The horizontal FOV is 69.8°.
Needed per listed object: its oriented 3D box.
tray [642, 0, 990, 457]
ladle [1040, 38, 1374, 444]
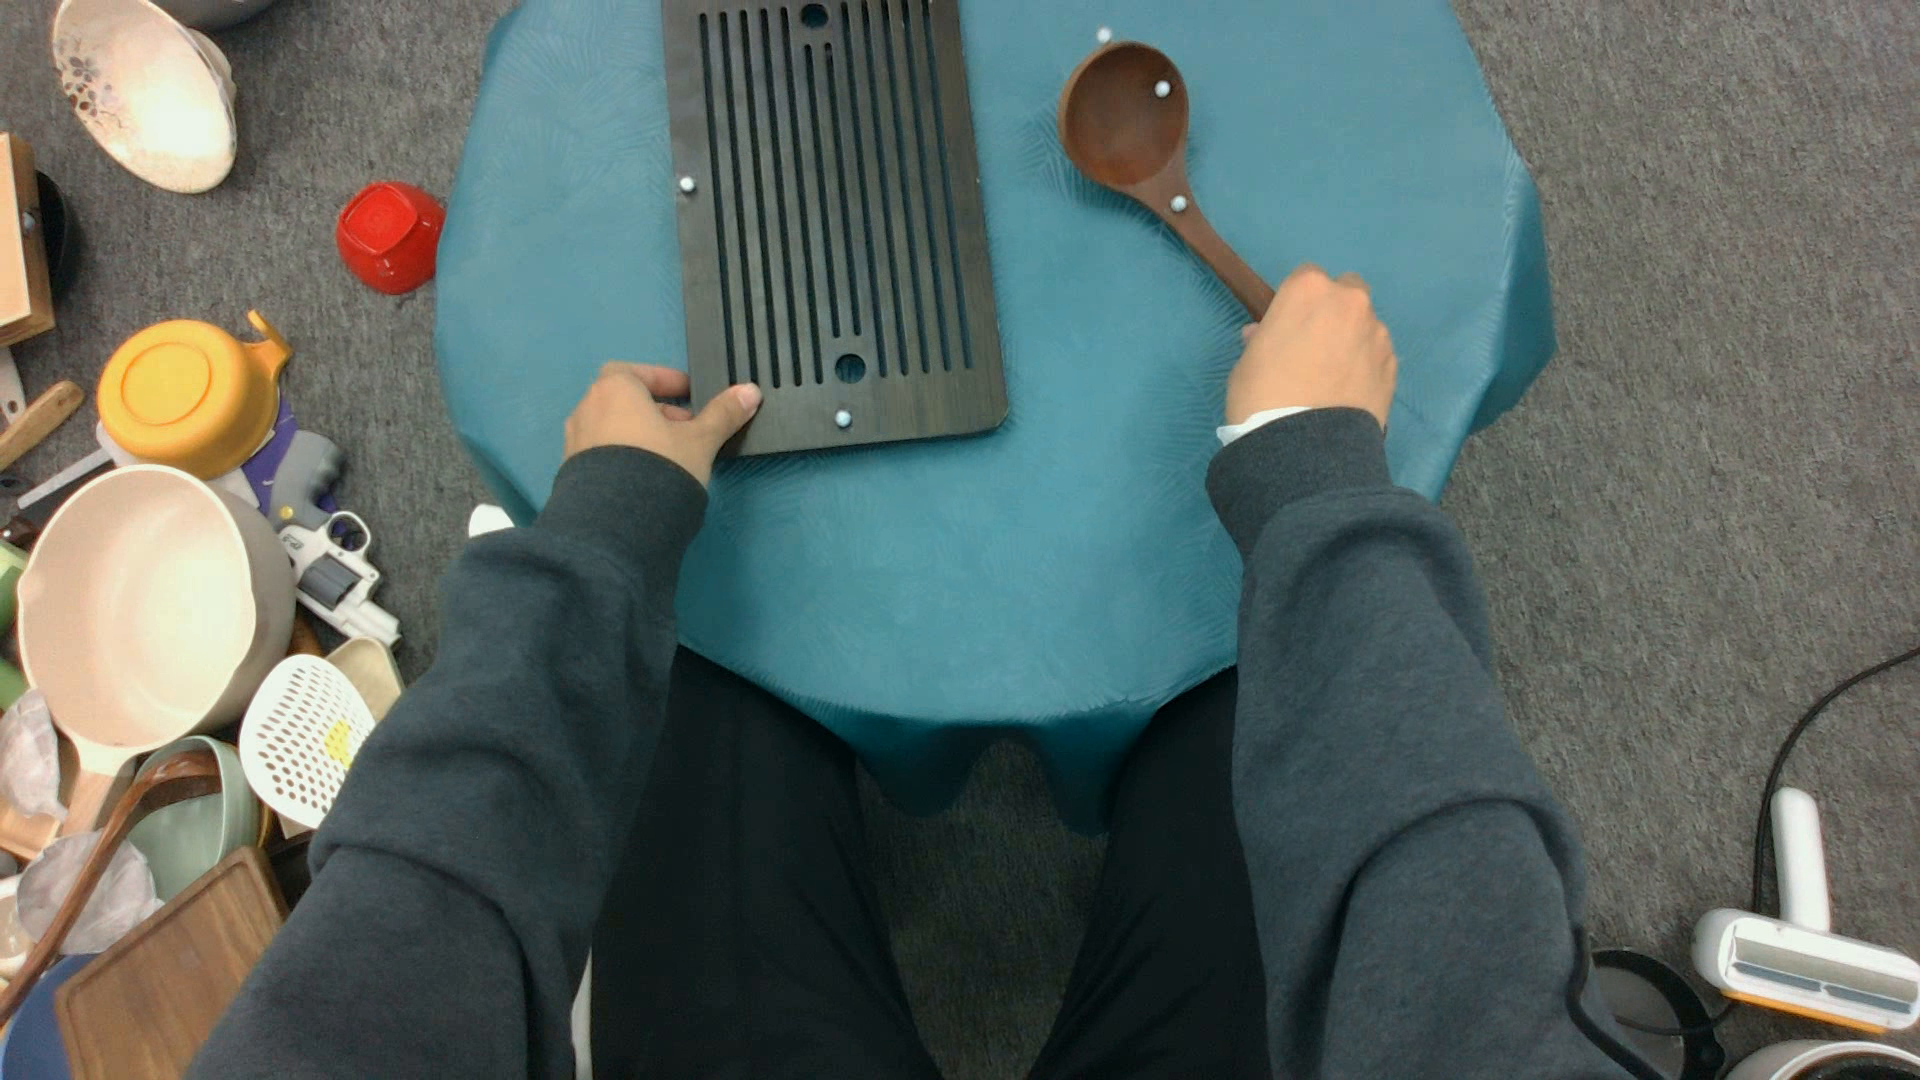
[{"bbox_3d":[-0.085,-0.197,0.772,0.170,0.018,0.306,-6,75,-3],"label":"tray"},{"bbox_3d":[0.136,-0.159,0.737,0.076,0.065,0.260,-37,77,5],"label":"ladle"}]
